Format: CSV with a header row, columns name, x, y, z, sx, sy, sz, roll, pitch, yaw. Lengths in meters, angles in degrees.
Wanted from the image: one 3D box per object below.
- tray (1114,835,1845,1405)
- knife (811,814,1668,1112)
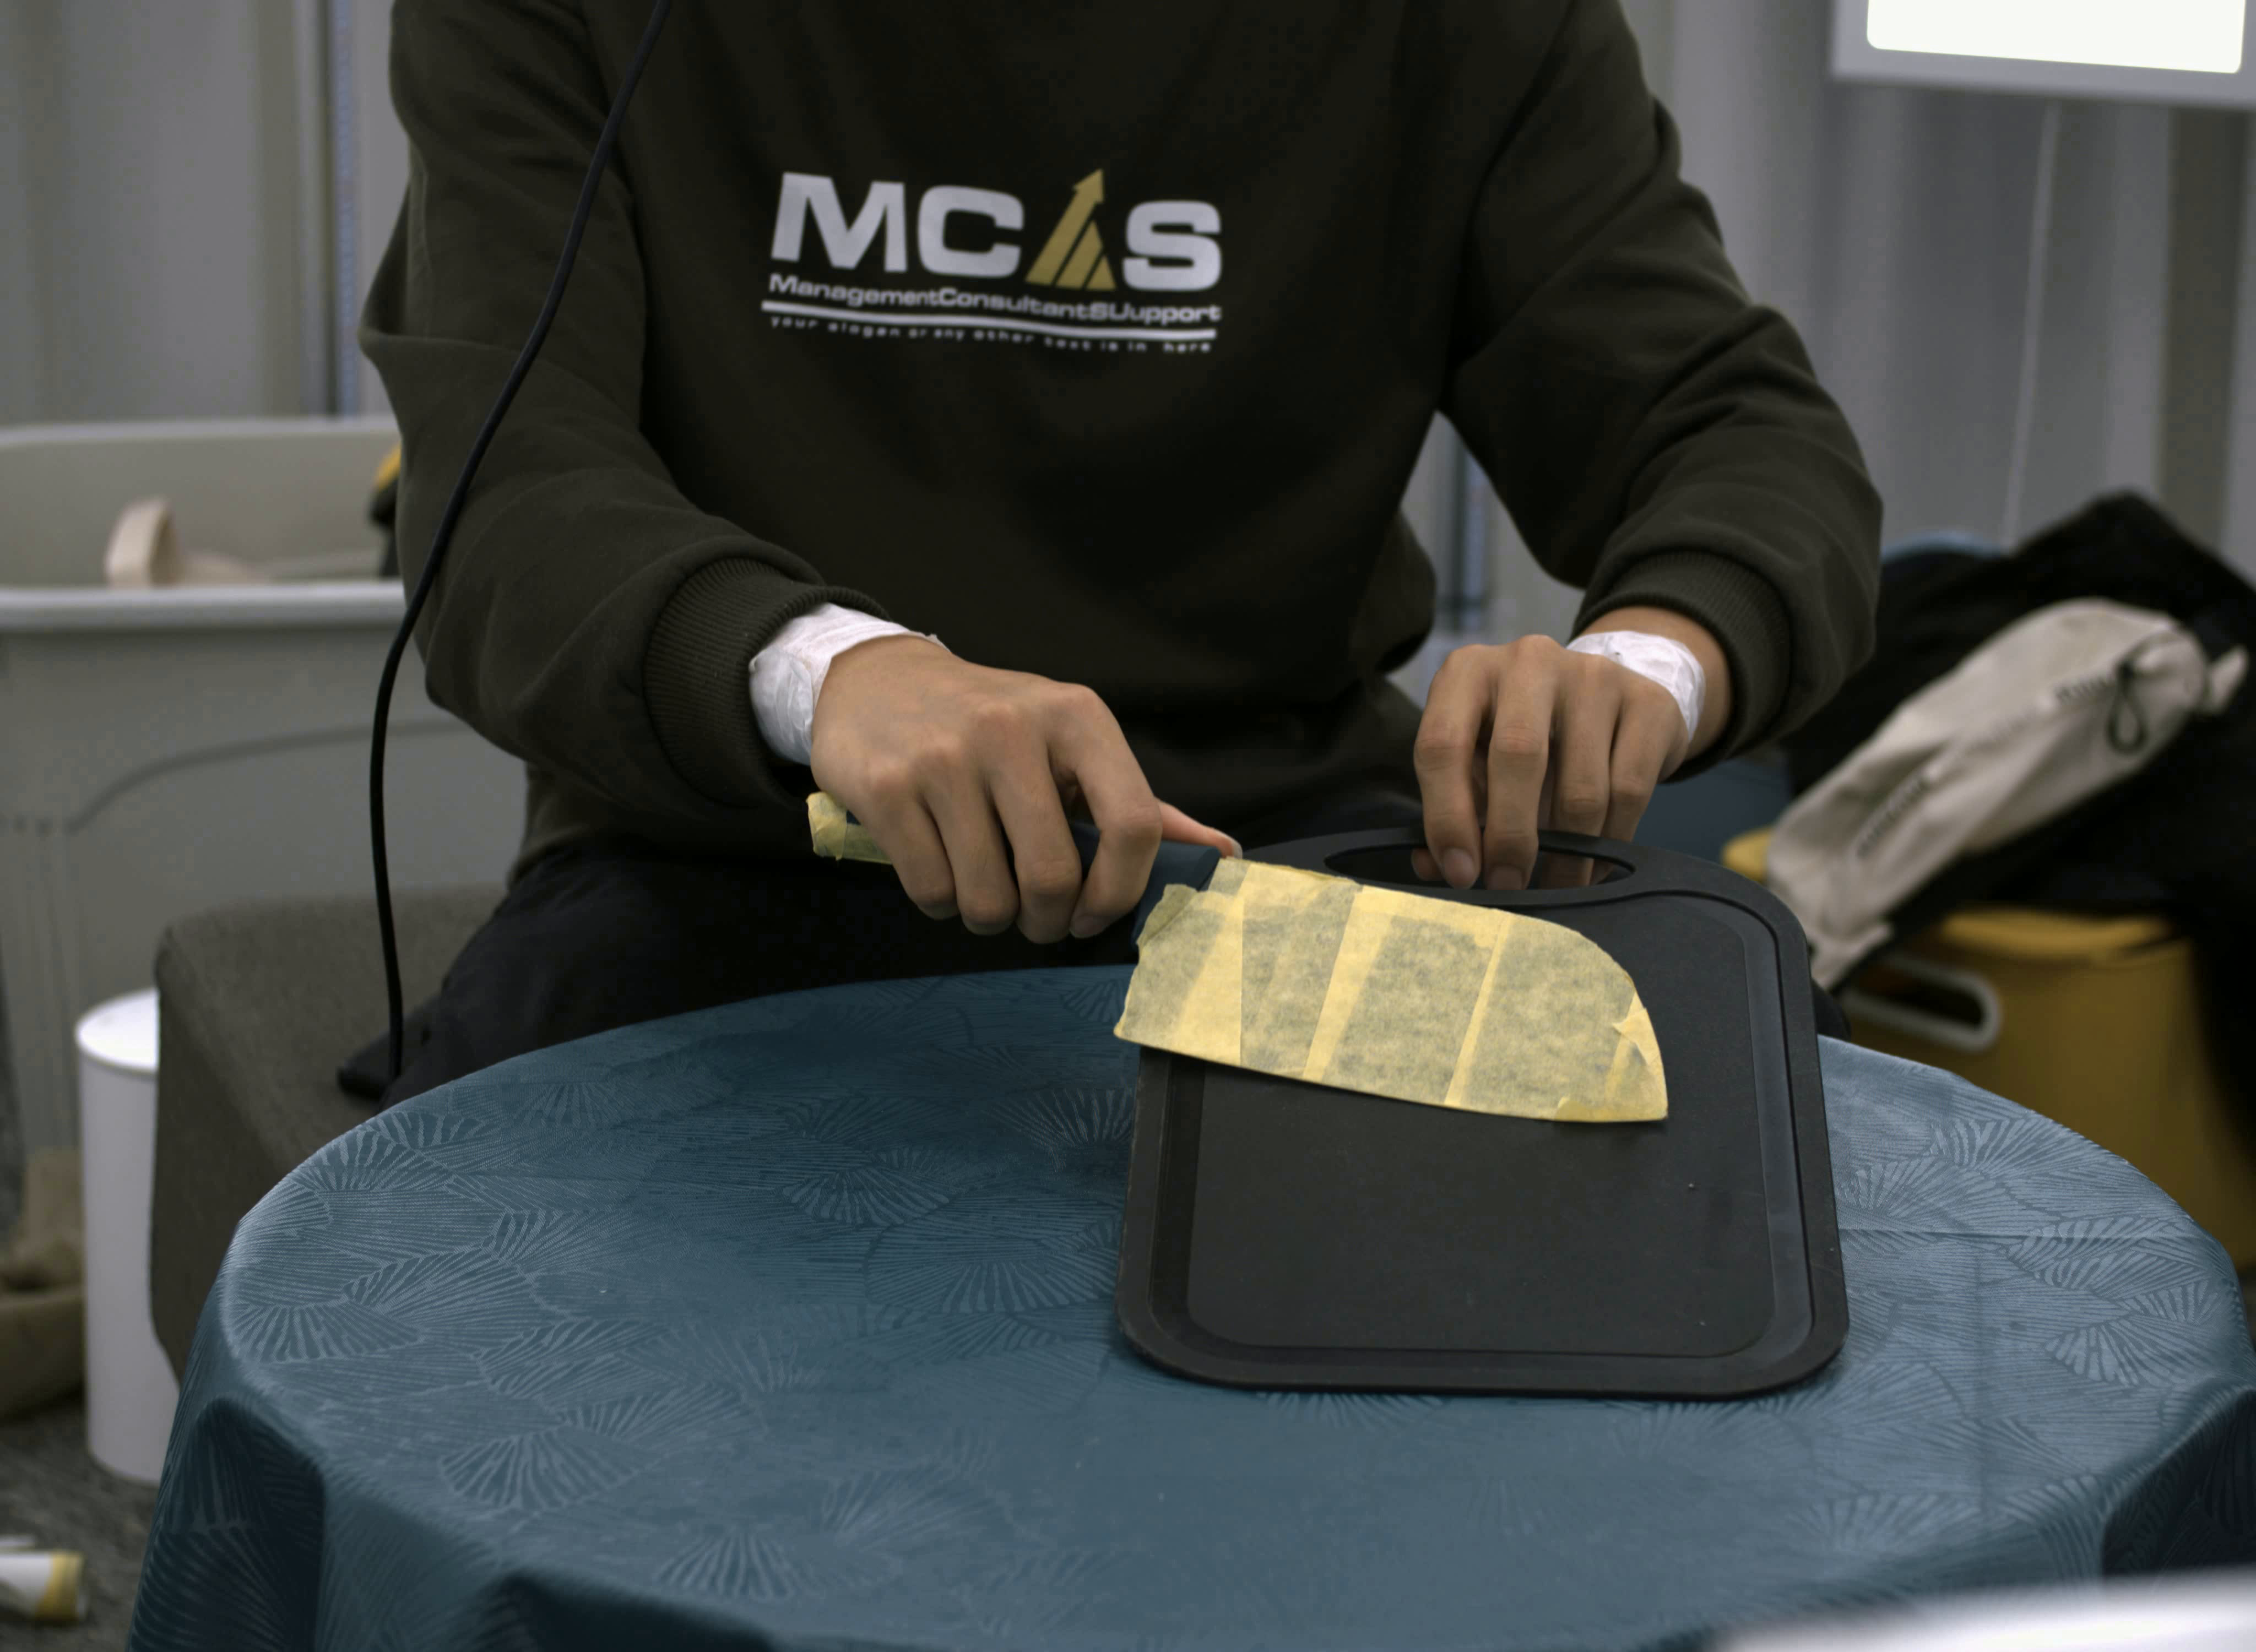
name,x,y,z,sx,sy,sz,roll,pitch,yaw
tray,0.106,0.080,1.600,0.210,0.010,0.323,2,29,3
knife,0.029,0.042,1.632,0.287,0.027,0.081,12,57,17
